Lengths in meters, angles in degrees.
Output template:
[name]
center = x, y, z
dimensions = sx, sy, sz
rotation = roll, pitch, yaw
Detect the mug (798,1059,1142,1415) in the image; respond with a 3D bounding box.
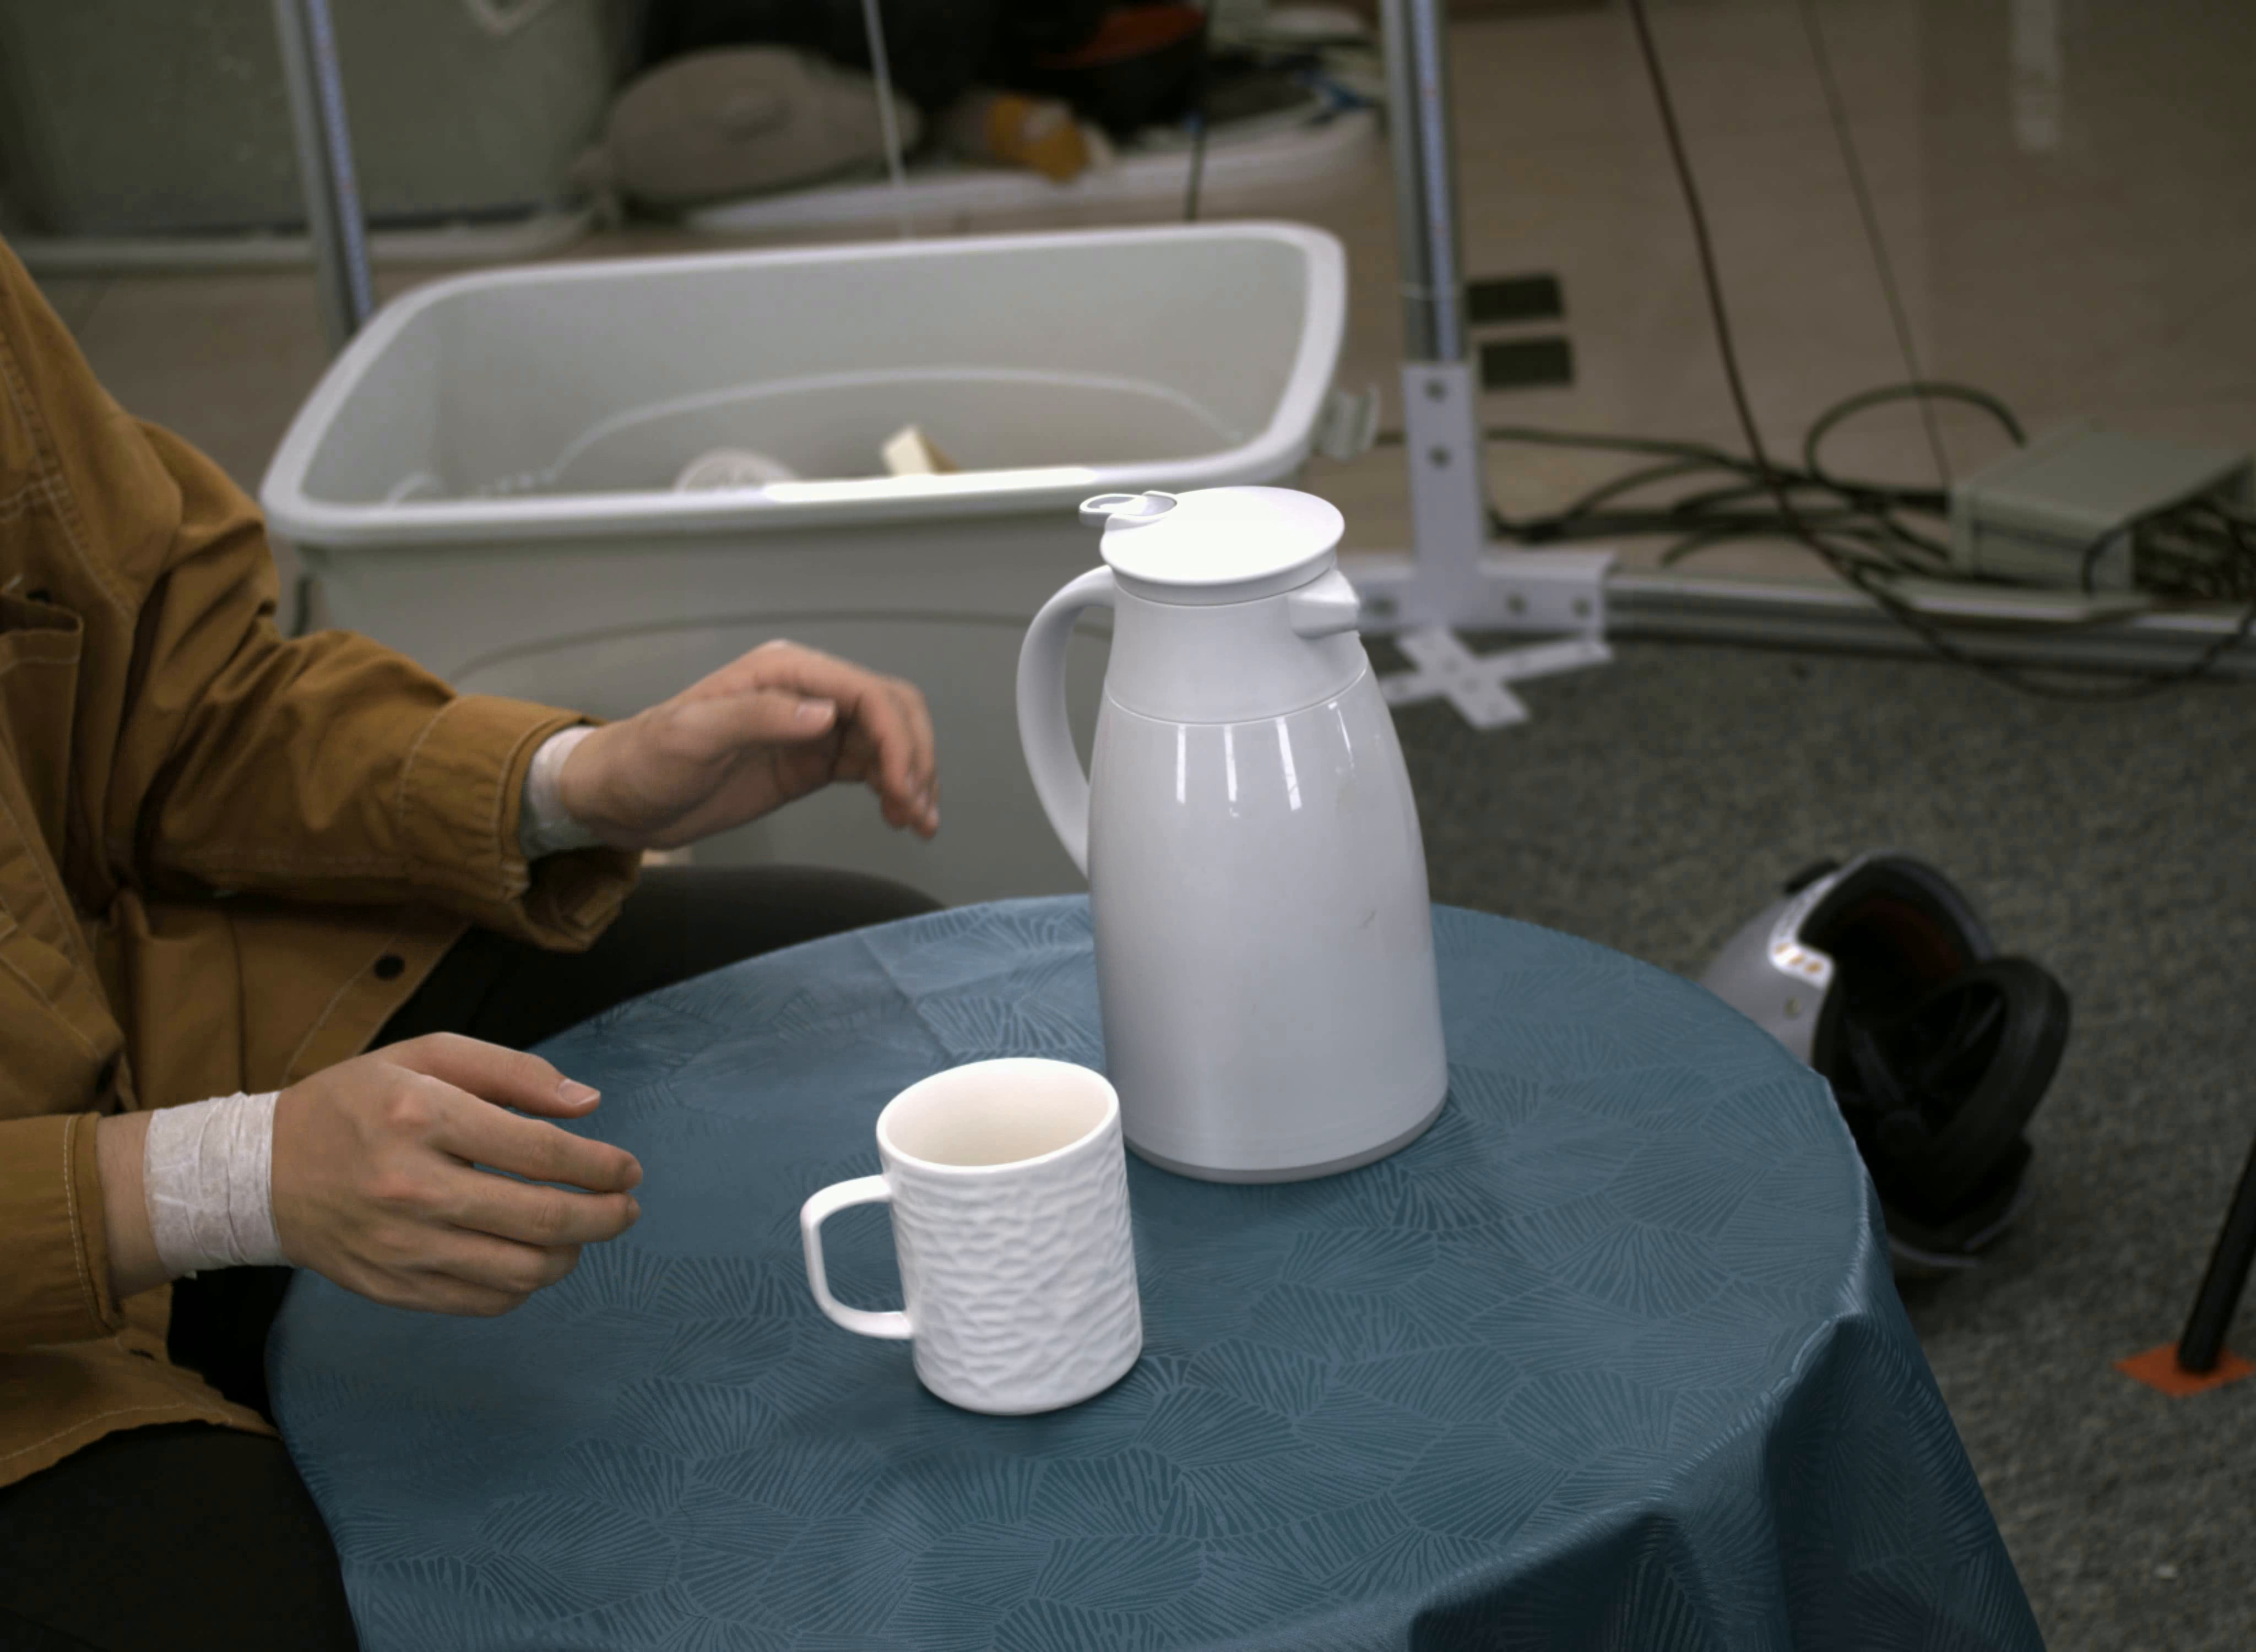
[mug]
center = -0.057, 0.150, 2.018
dimensions = 0.118, 0.103, 0.084
rotation = -12, 25, -11

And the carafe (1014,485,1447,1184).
[carafe]
center = 0.030, -0.006, 2.156
dimensions = 0.167, 0.252, 0.131
rotation = 13, 32, 35
